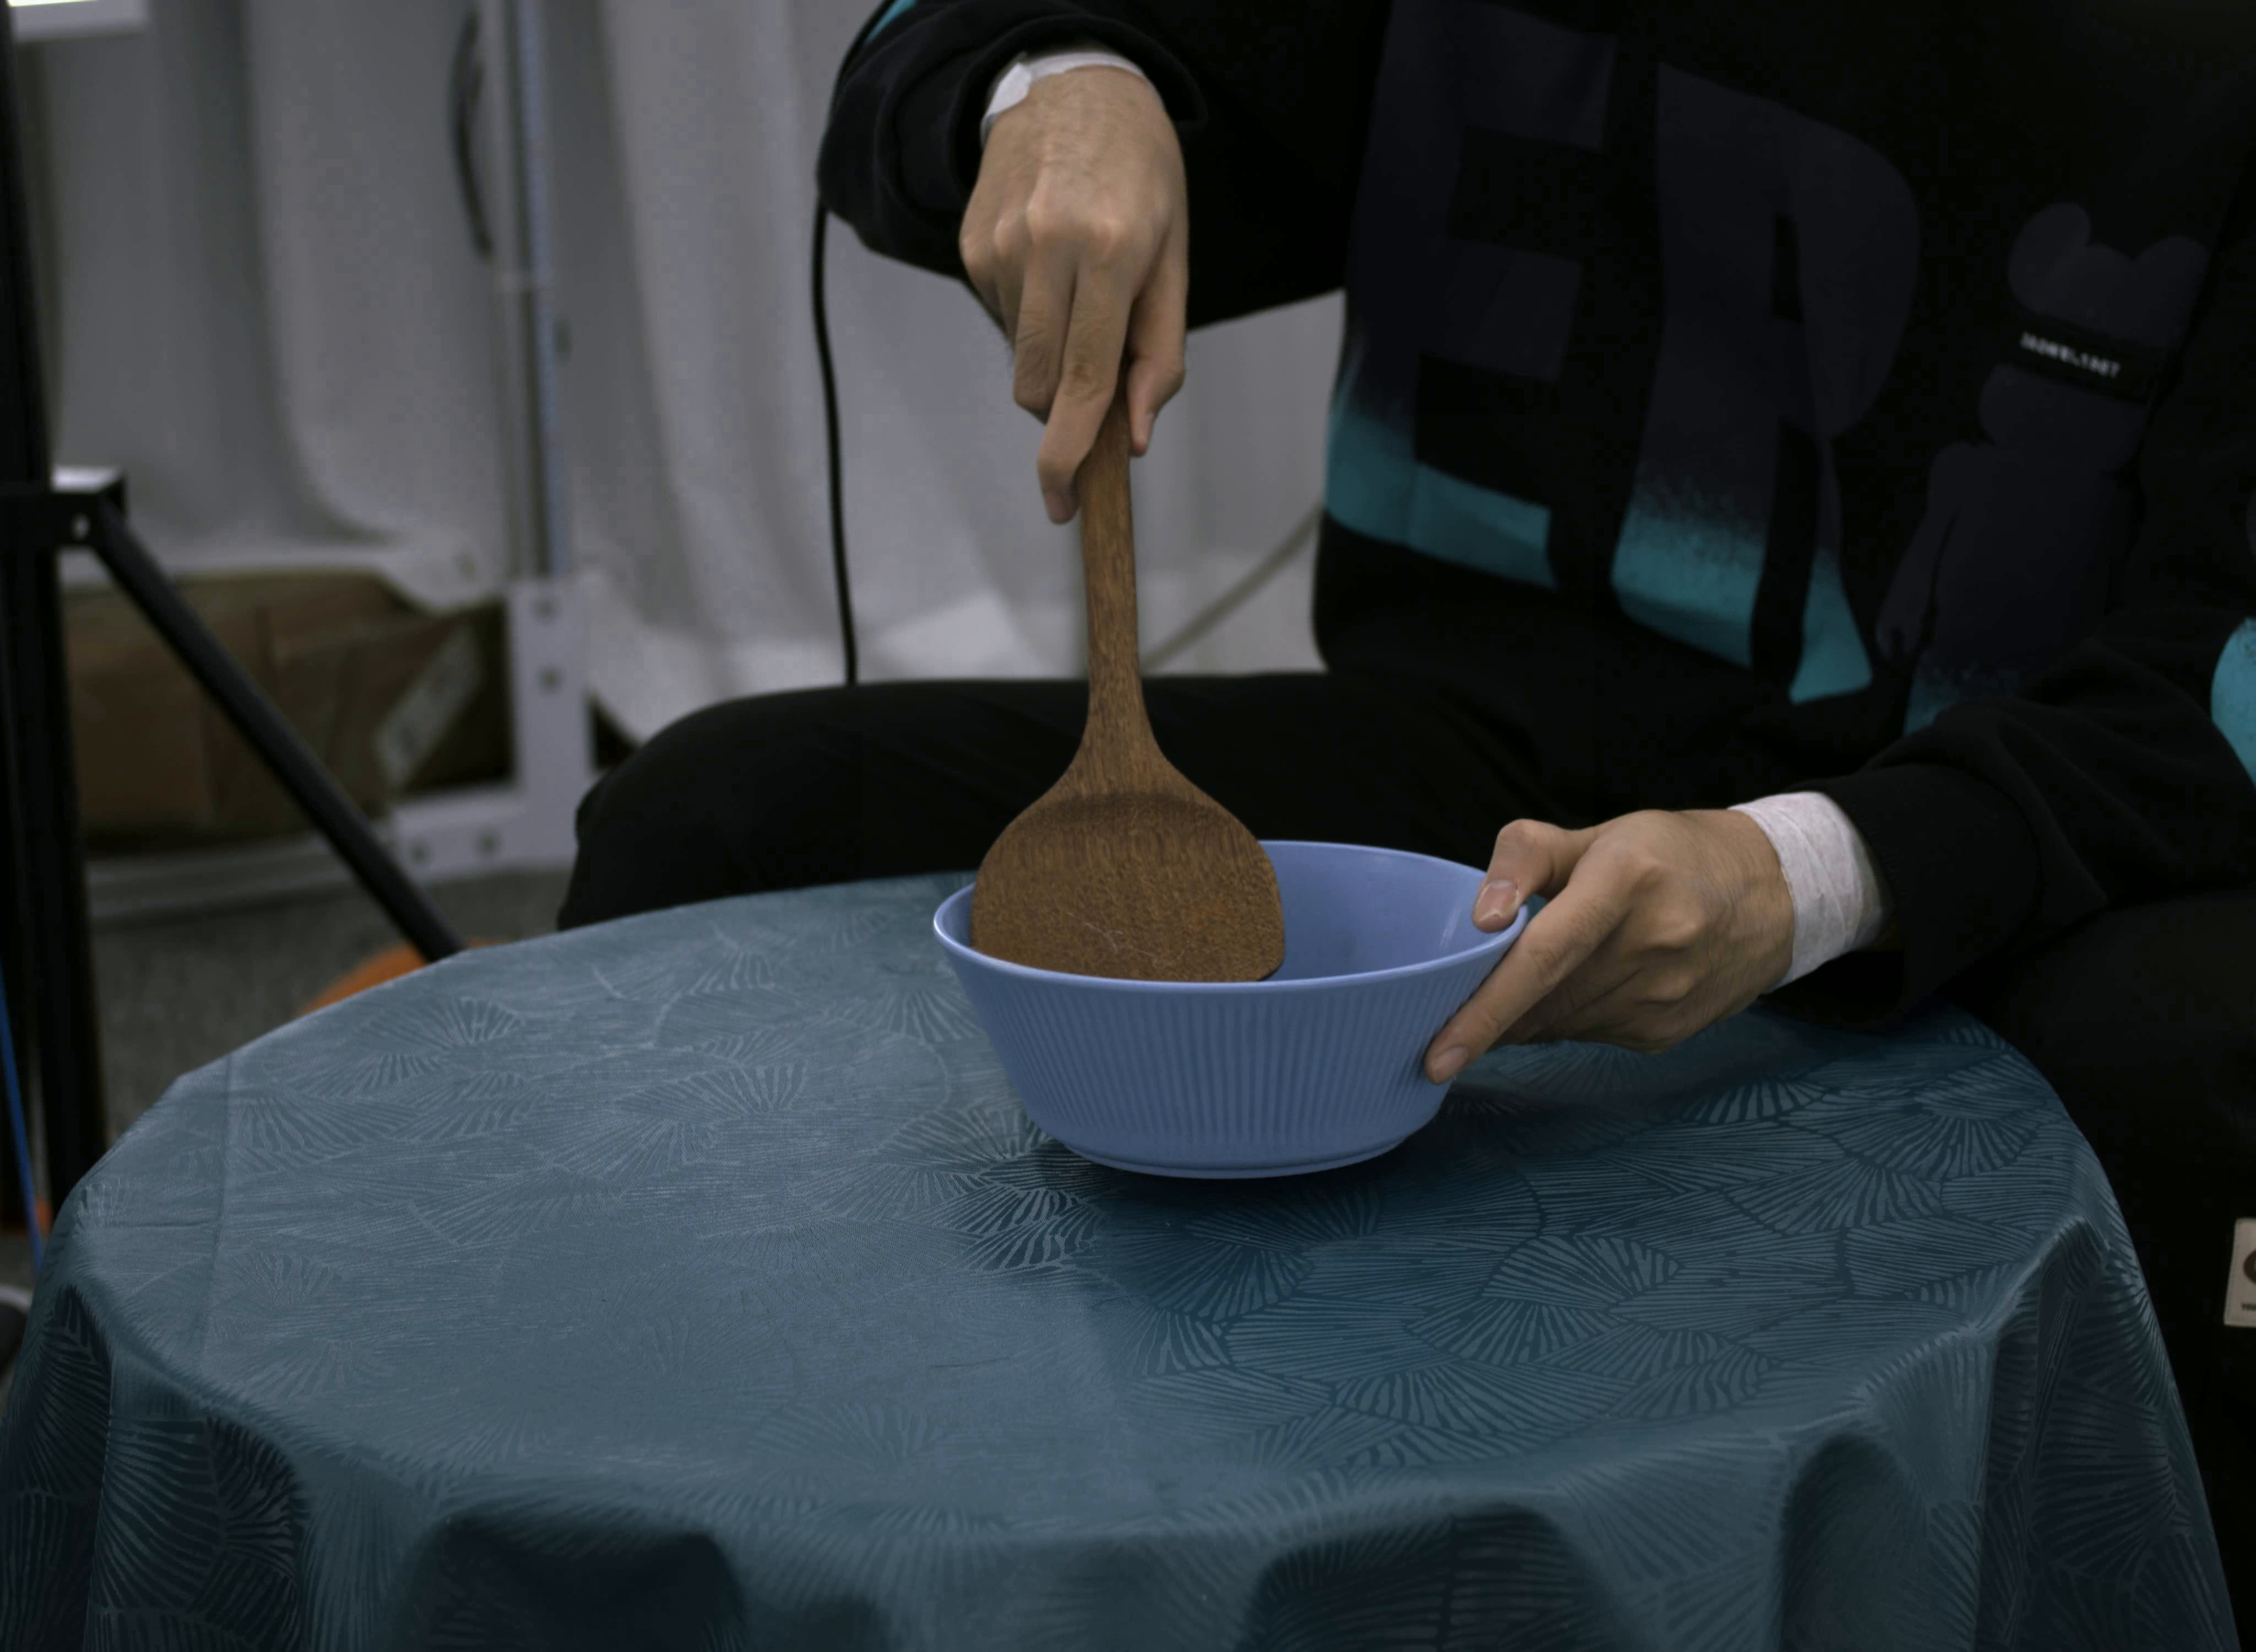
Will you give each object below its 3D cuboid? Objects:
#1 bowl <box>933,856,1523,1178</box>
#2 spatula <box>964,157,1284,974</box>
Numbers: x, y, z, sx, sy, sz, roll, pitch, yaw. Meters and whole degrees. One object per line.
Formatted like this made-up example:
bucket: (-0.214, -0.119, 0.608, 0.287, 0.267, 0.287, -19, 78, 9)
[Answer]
bowl: (0.030, 0.058, 1.577, 0.175, 0.070, 0.177, -1, 12, -1)
spatula: (-0.007, -0.086, 1.690, 0.096, 0.015, 0.390, -4, 48, 1)
